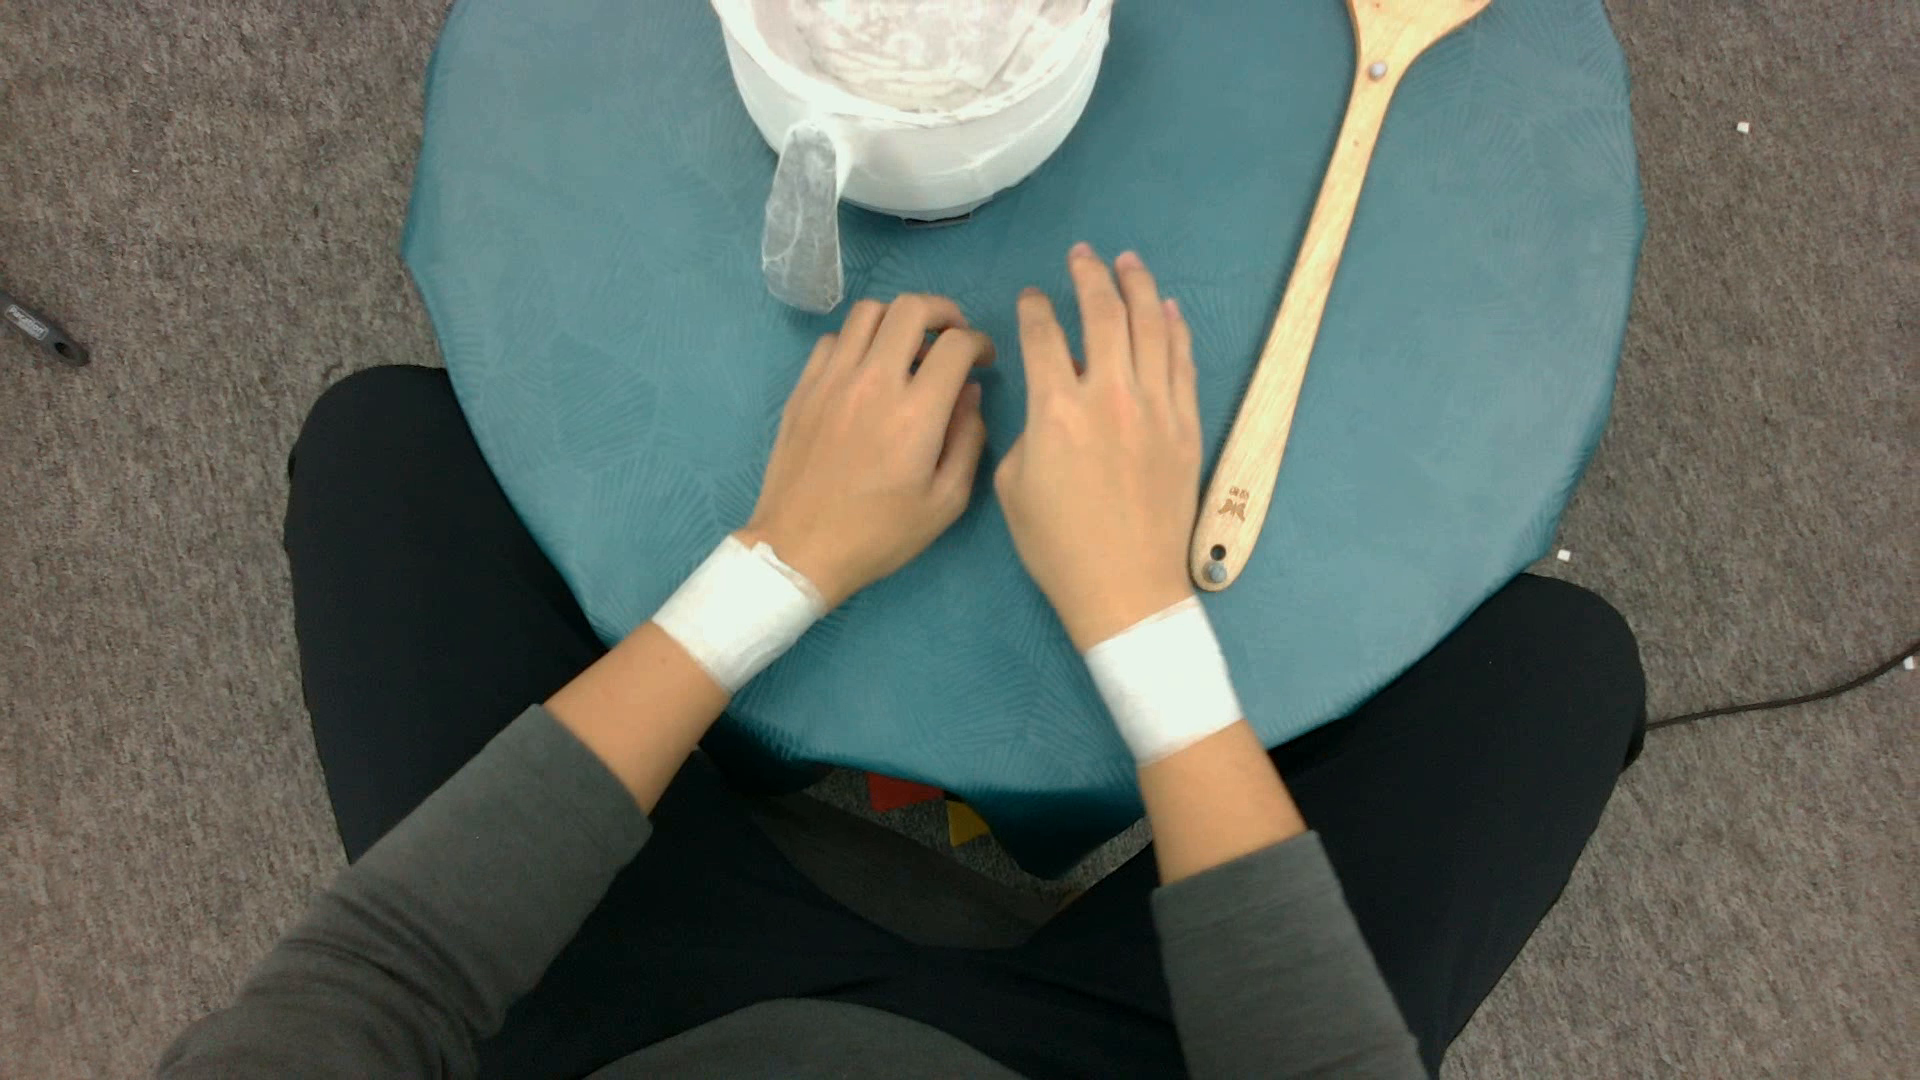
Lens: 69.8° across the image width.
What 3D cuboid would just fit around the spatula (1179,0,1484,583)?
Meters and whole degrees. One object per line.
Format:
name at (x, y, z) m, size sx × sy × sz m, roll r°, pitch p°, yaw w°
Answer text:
spatula at (0.181, -0.163, 0.674) m, size 0.096 × 0.018 × 0.391 m, roll 19°, pitch 84°, yaw 1°

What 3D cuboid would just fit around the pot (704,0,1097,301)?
pot at (-0.036, -0.224, 0.613) m, size 0.179 × 0.136 × 0.234 m, roll 22°, pitch 85°, yaw 1°
